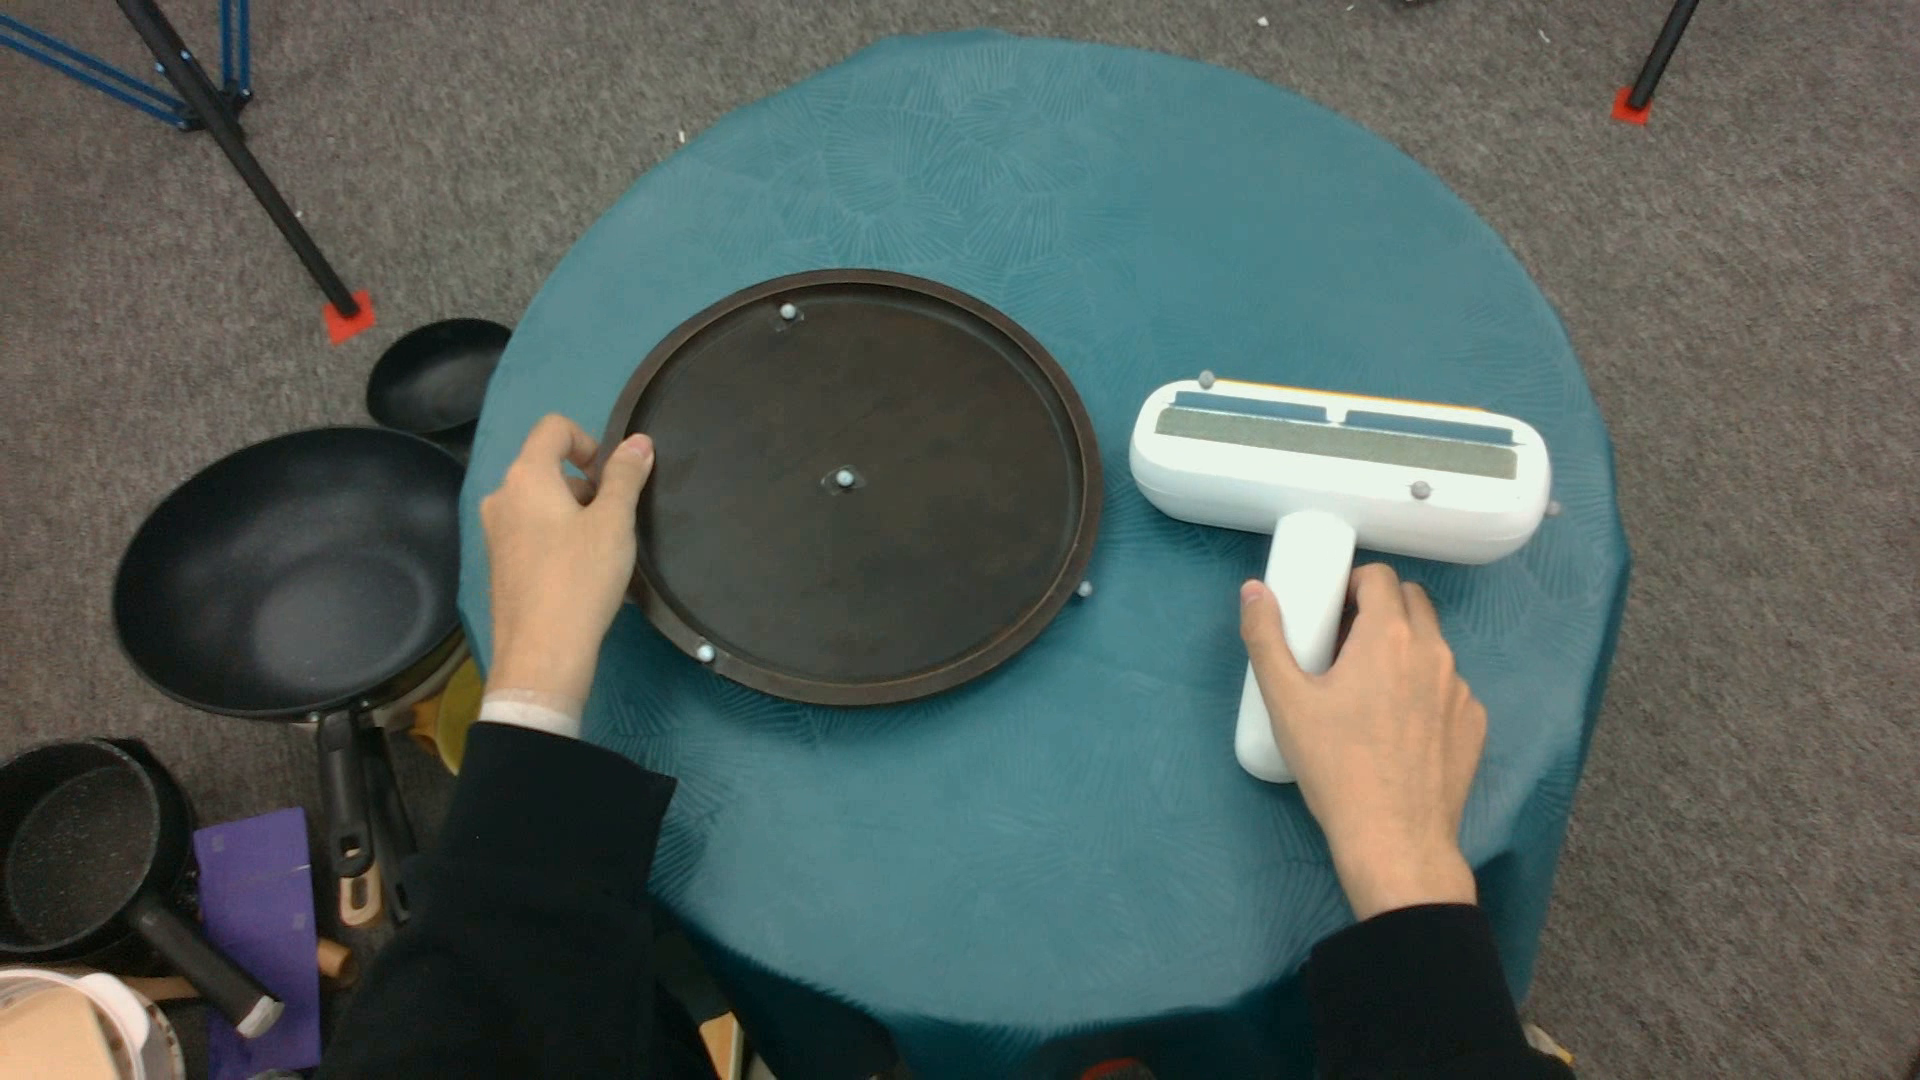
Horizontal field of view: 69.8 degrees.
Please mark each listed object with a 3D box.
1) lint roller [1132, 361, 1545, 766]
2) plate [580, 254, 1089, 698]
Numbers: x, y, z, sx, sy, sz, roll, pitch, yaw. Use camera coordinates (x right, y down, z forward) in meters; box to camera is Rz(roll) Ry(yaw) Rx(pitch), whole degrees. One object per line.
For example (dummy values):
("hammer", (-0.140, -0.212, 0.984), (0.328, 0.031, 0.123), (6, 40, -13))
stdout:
("lint roller", (0.159, 0.011, 0.647), (0.193, 0.074, 0.193), (15, 65, 17))
("plate", (-0.061, -0.039, 0.694), (0.255, 0.029, 0.255), (2, 64, -4))
